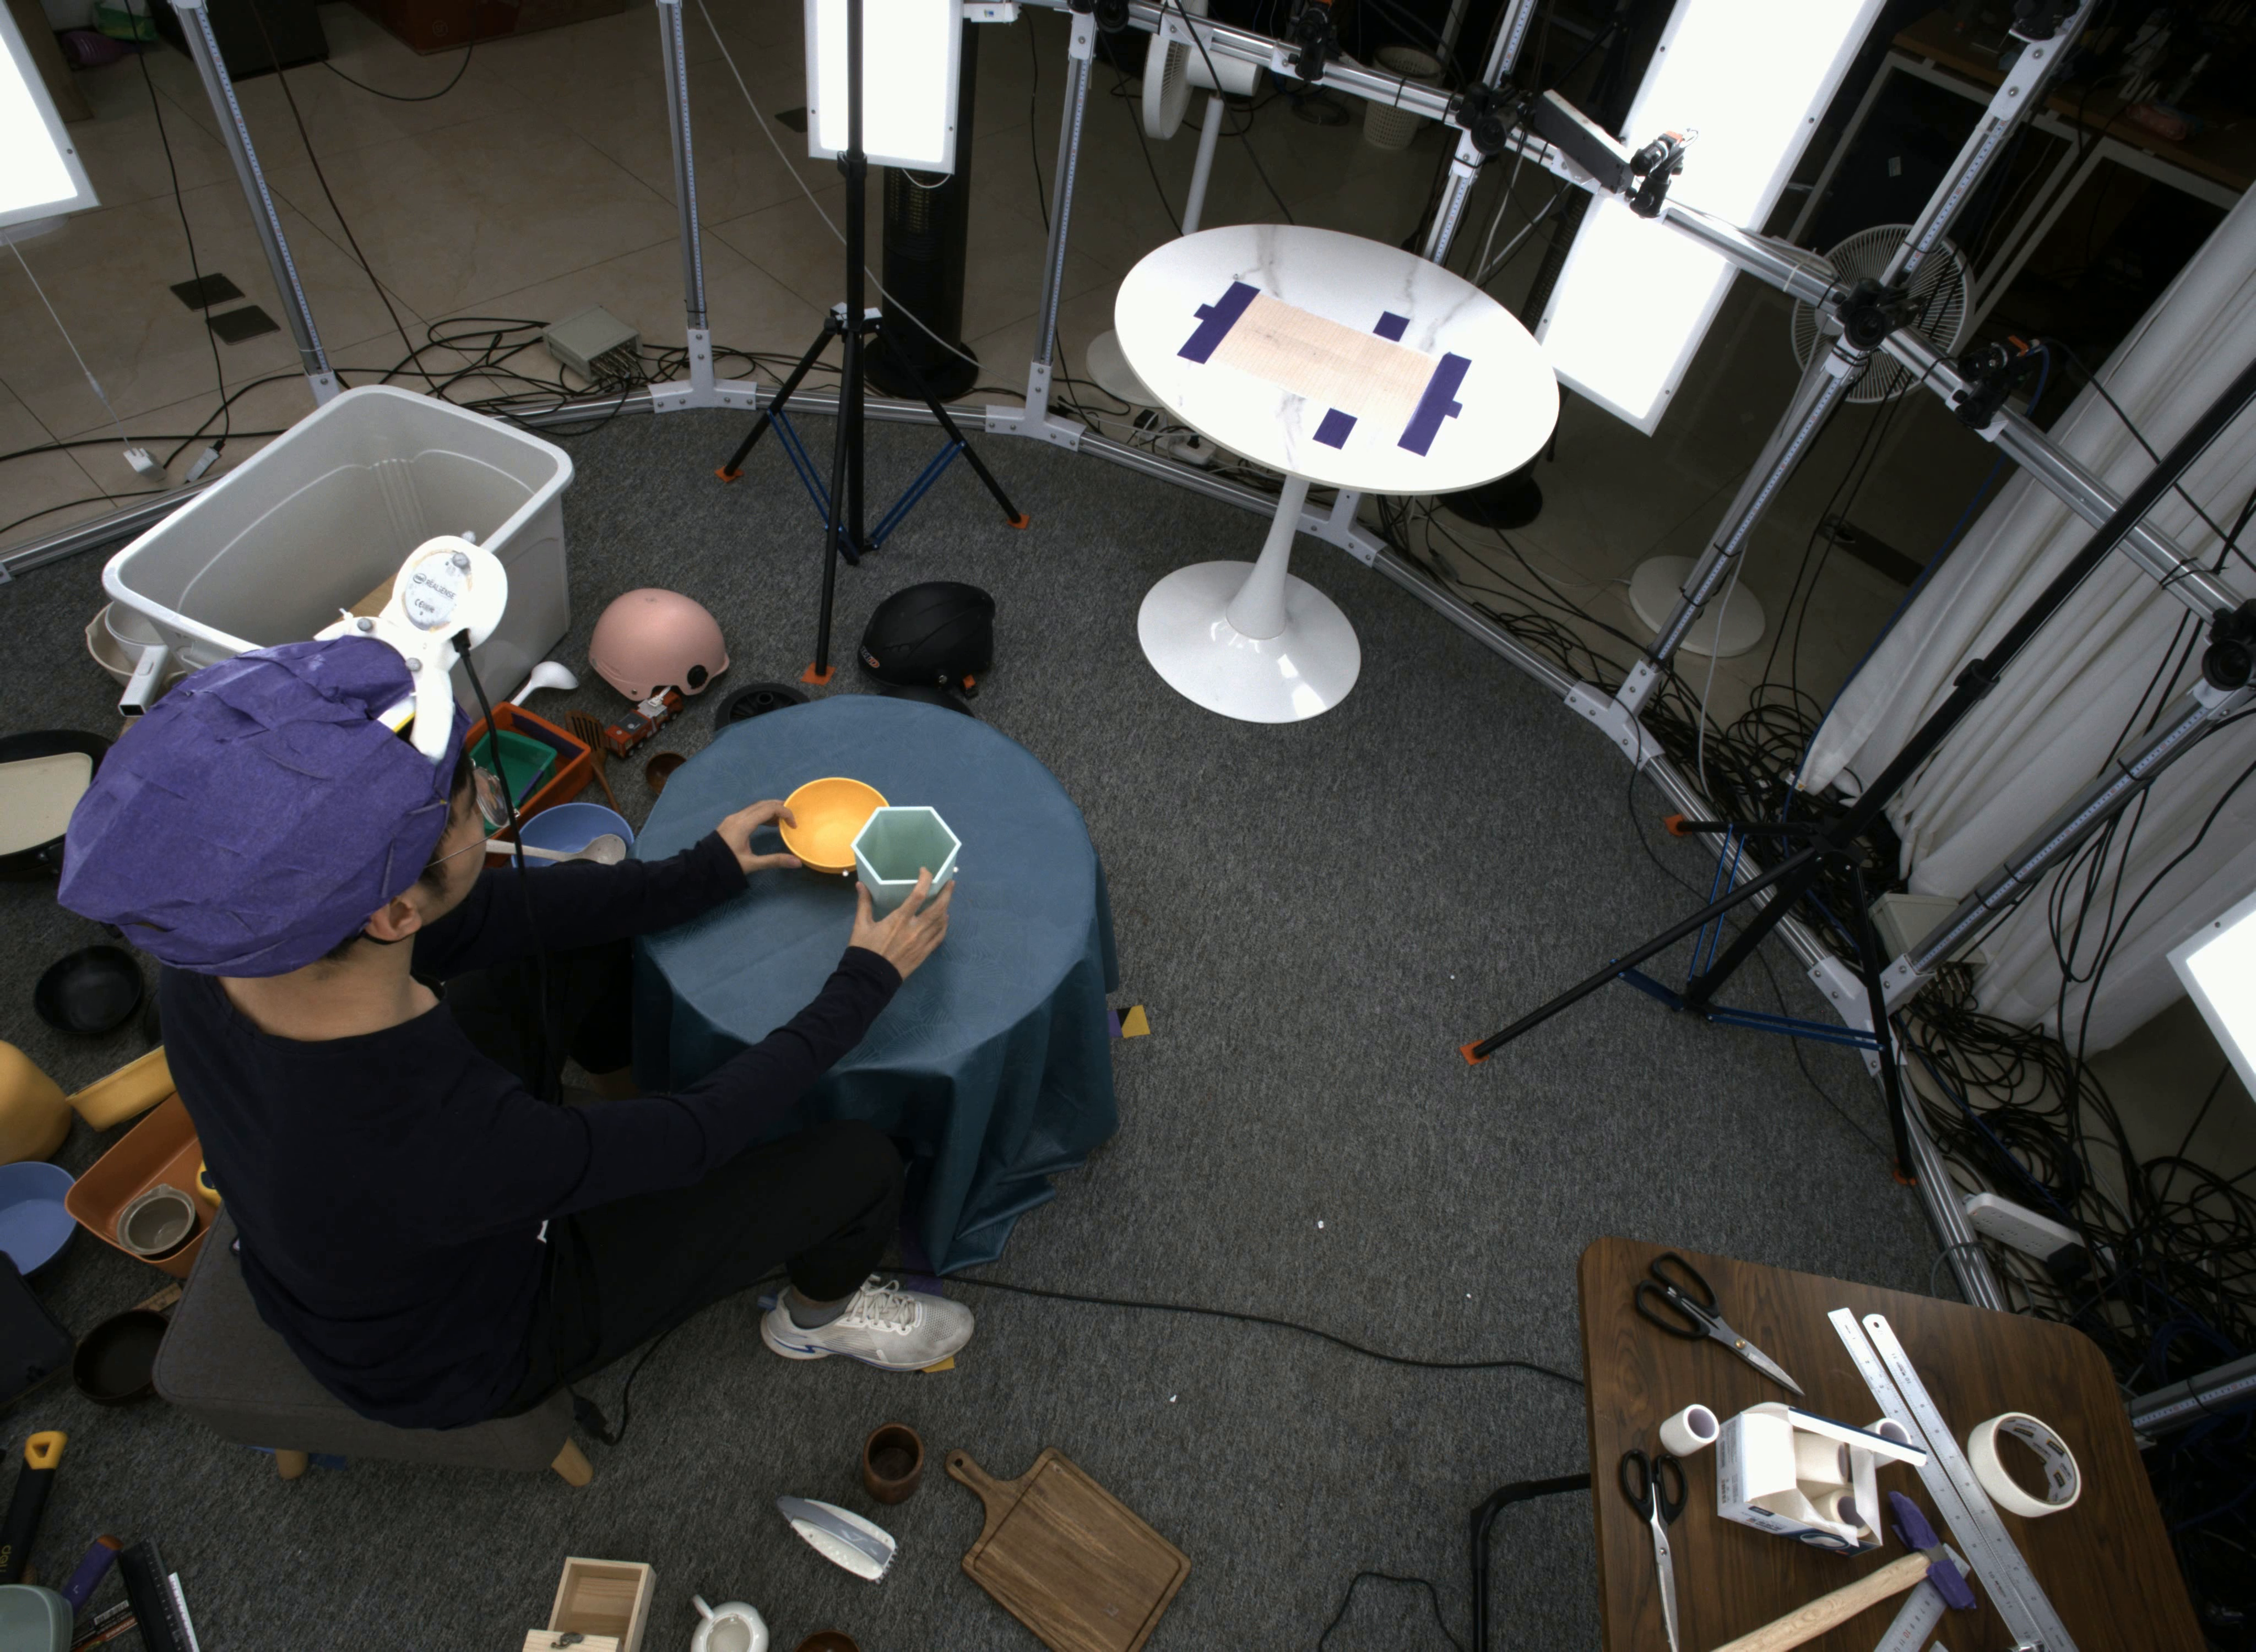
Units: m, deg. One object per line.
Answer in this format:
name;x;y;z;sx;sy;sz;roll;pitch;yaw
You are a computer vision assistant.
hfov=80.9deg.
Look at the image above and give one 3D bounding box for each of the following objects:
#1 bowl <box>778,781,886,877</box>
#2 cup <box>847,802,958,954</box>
bowl;-0.381;0.015;1.691;0.145;0.061;0.143;6;53;-7
cup;-0.277;0.067;1.607;0.115;0.166;0.128;-31;63;-29
